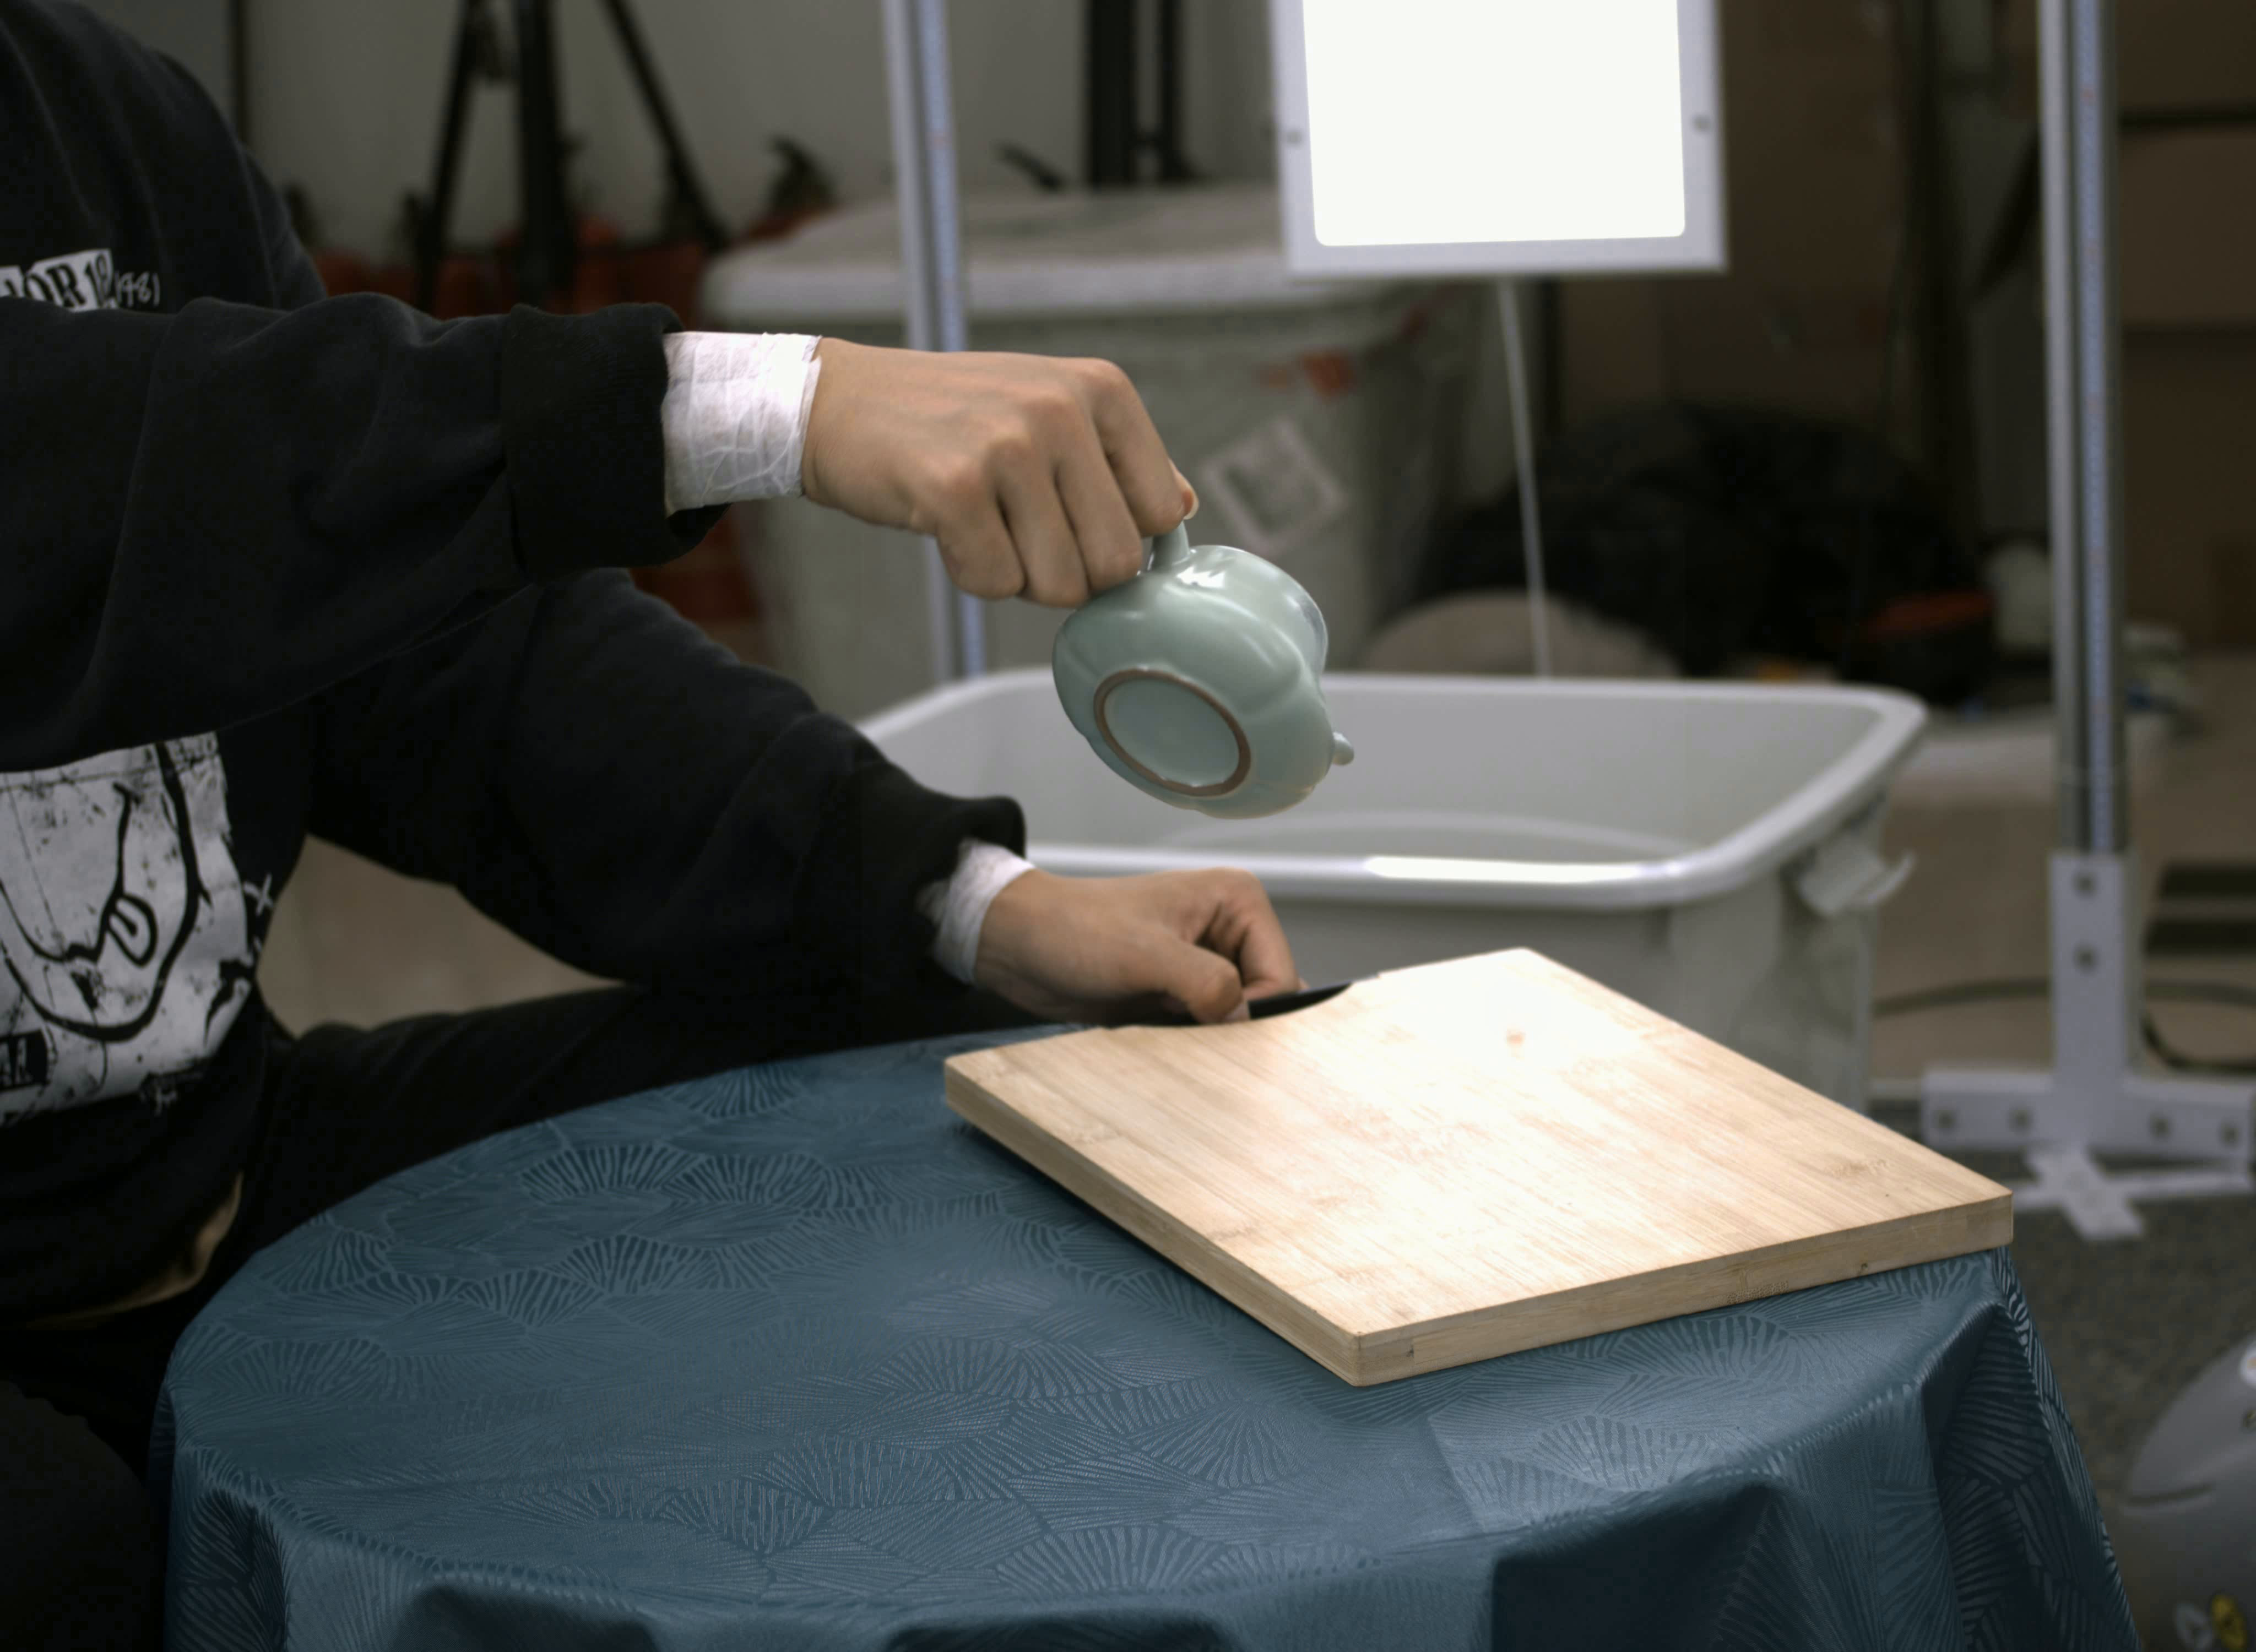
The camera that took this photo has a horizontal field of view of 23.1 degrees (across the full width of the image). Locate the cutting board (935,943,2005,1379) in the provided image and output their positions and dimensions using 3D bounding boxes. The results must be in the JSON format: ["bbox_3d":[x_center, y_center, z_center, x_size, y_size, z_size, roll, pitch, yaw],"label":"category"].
[{"bbox_3d":[0.108,0.109,1.882,0.246,0.023,0.354,-11,16,-22],"label":"cutting board"}]

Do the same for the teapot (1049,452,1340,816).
[{"bbox_3d":[0.023,-0.054,1.738,0.098,0.136,0.060,-7,36,43],"label":"teapot"}]
